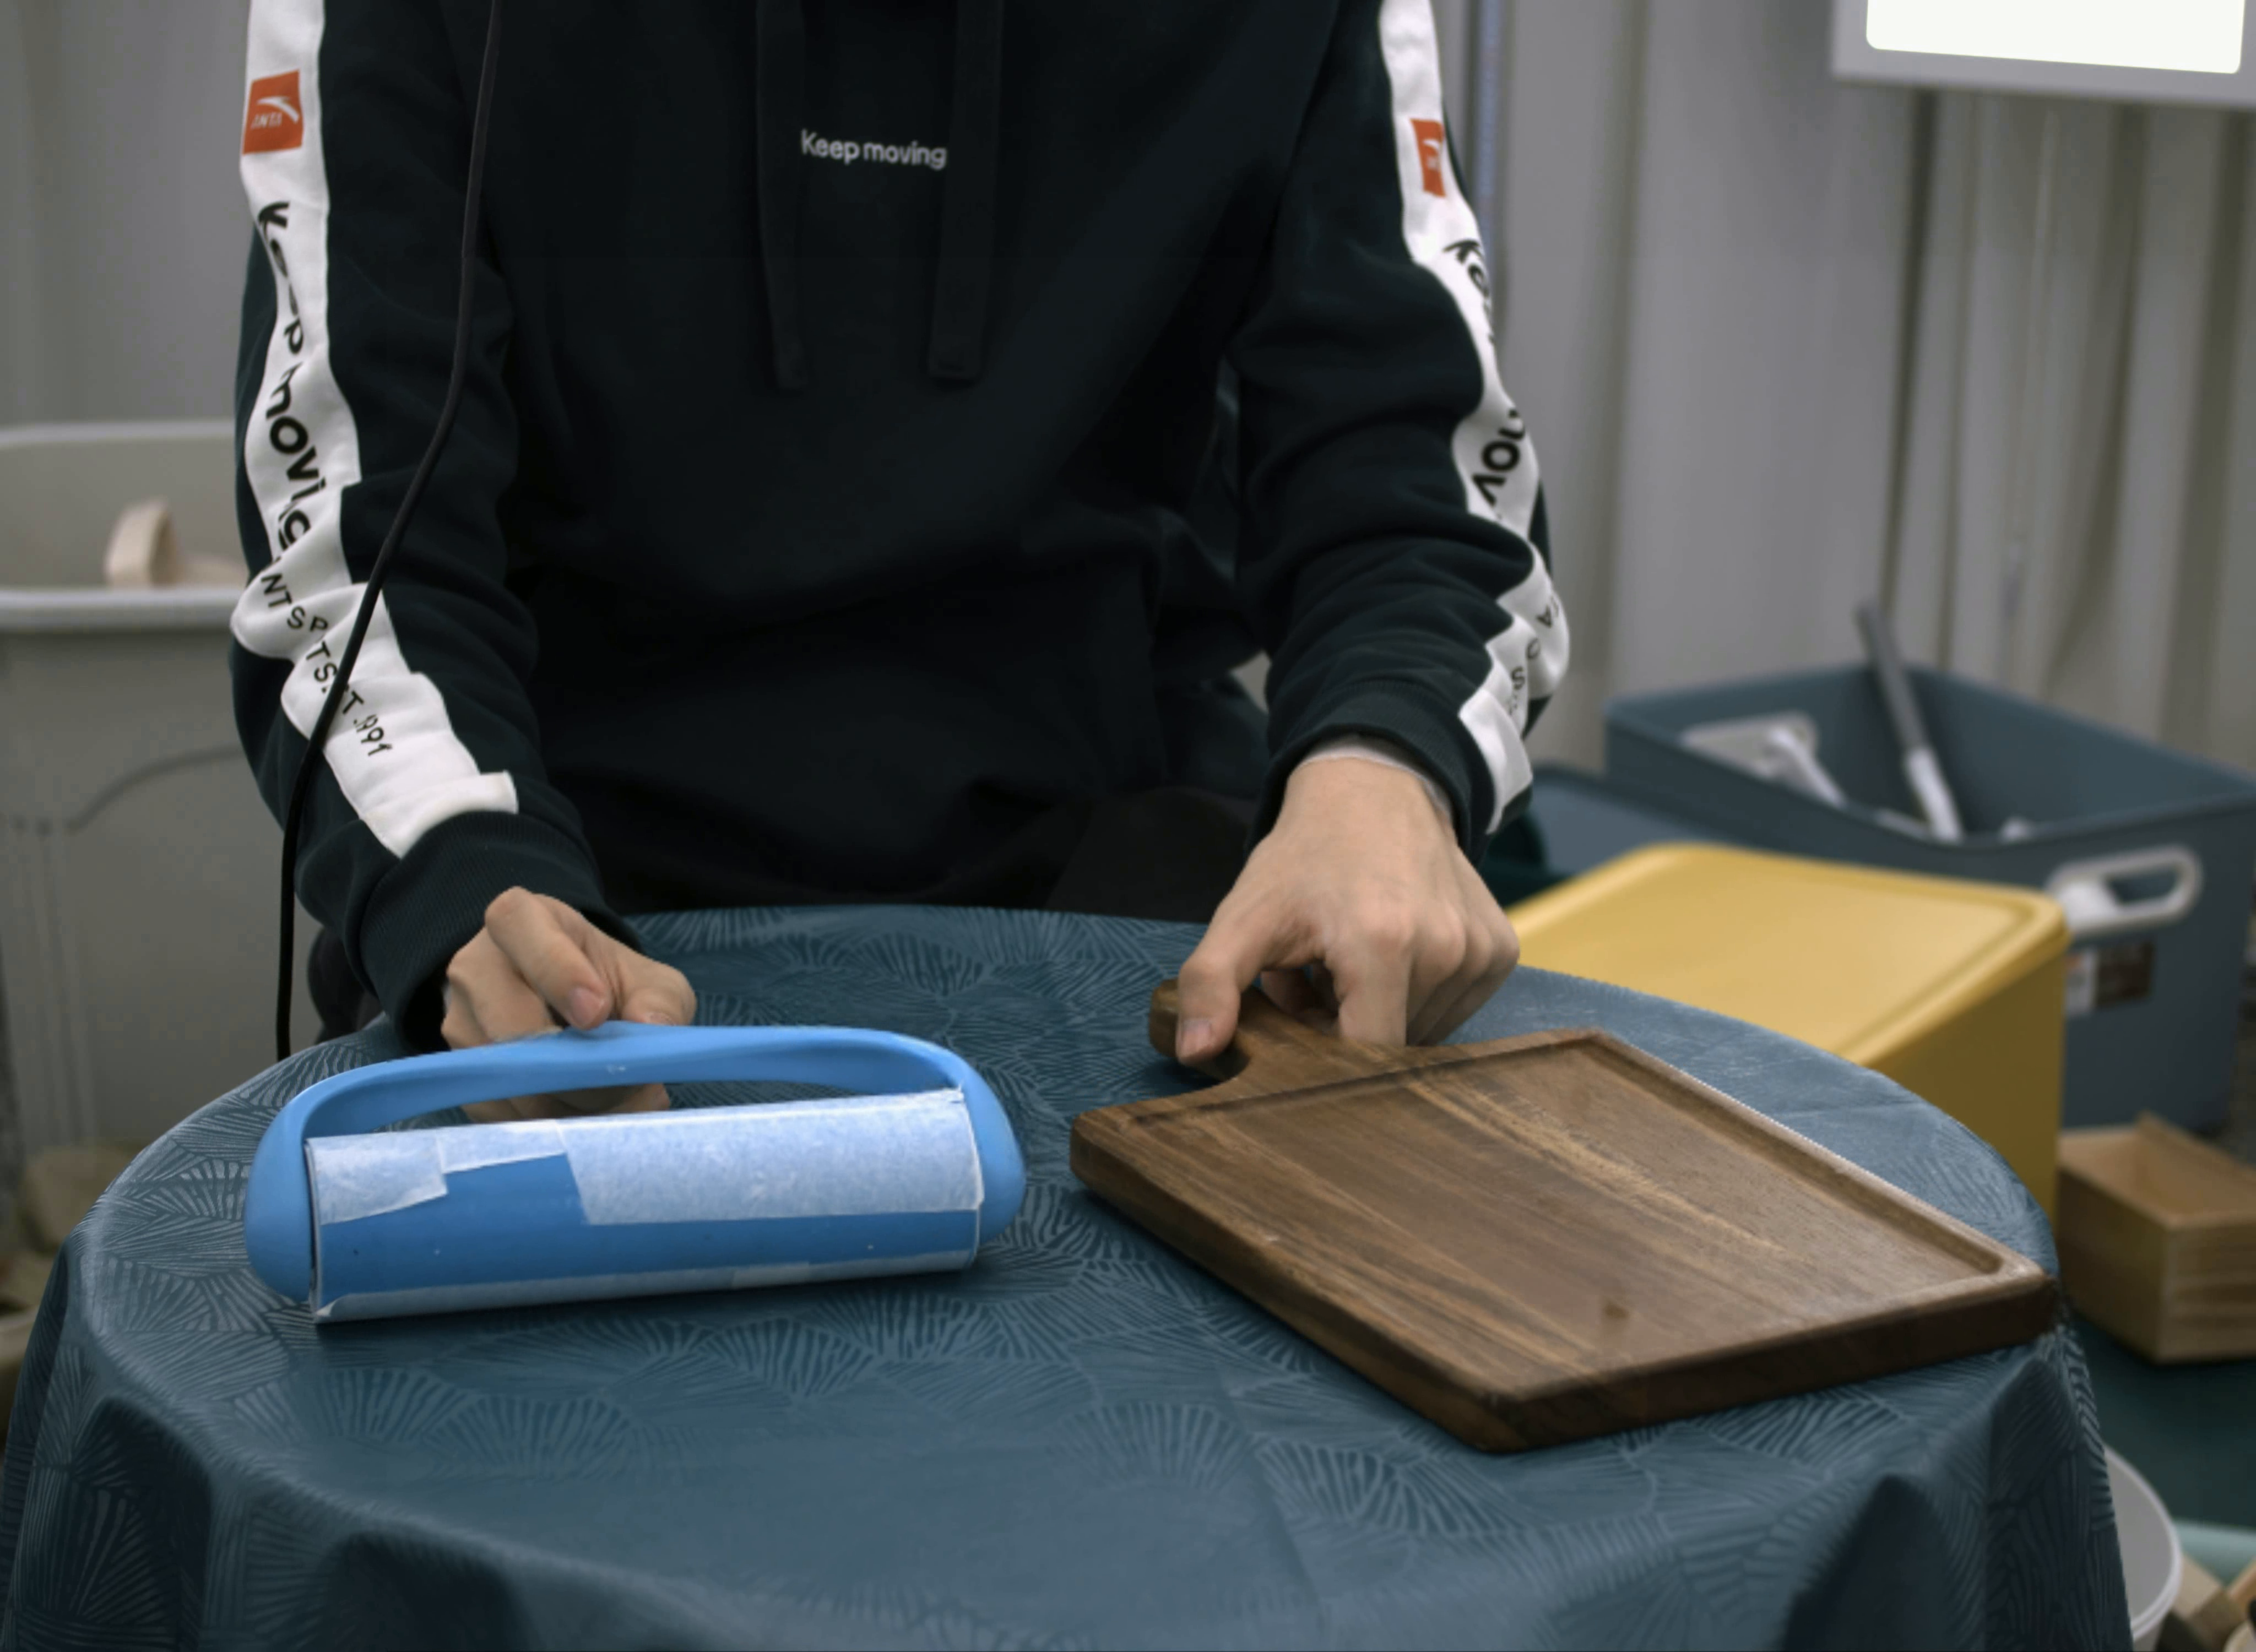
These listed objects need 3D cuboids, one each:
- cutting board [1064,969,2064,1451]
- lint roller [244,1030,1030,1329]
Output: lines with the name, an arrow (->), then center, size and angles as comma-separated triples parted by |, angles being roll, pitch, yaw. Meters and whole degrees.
cutting board -> 0.100, 0.103, 1.598 | 0.202, 0.023, 0.347 | -8, 19, -29
lint roller -> -0.157, 0.092, 1.576 | 0.229, 0.068, 0.178 | -6, 19, -16
